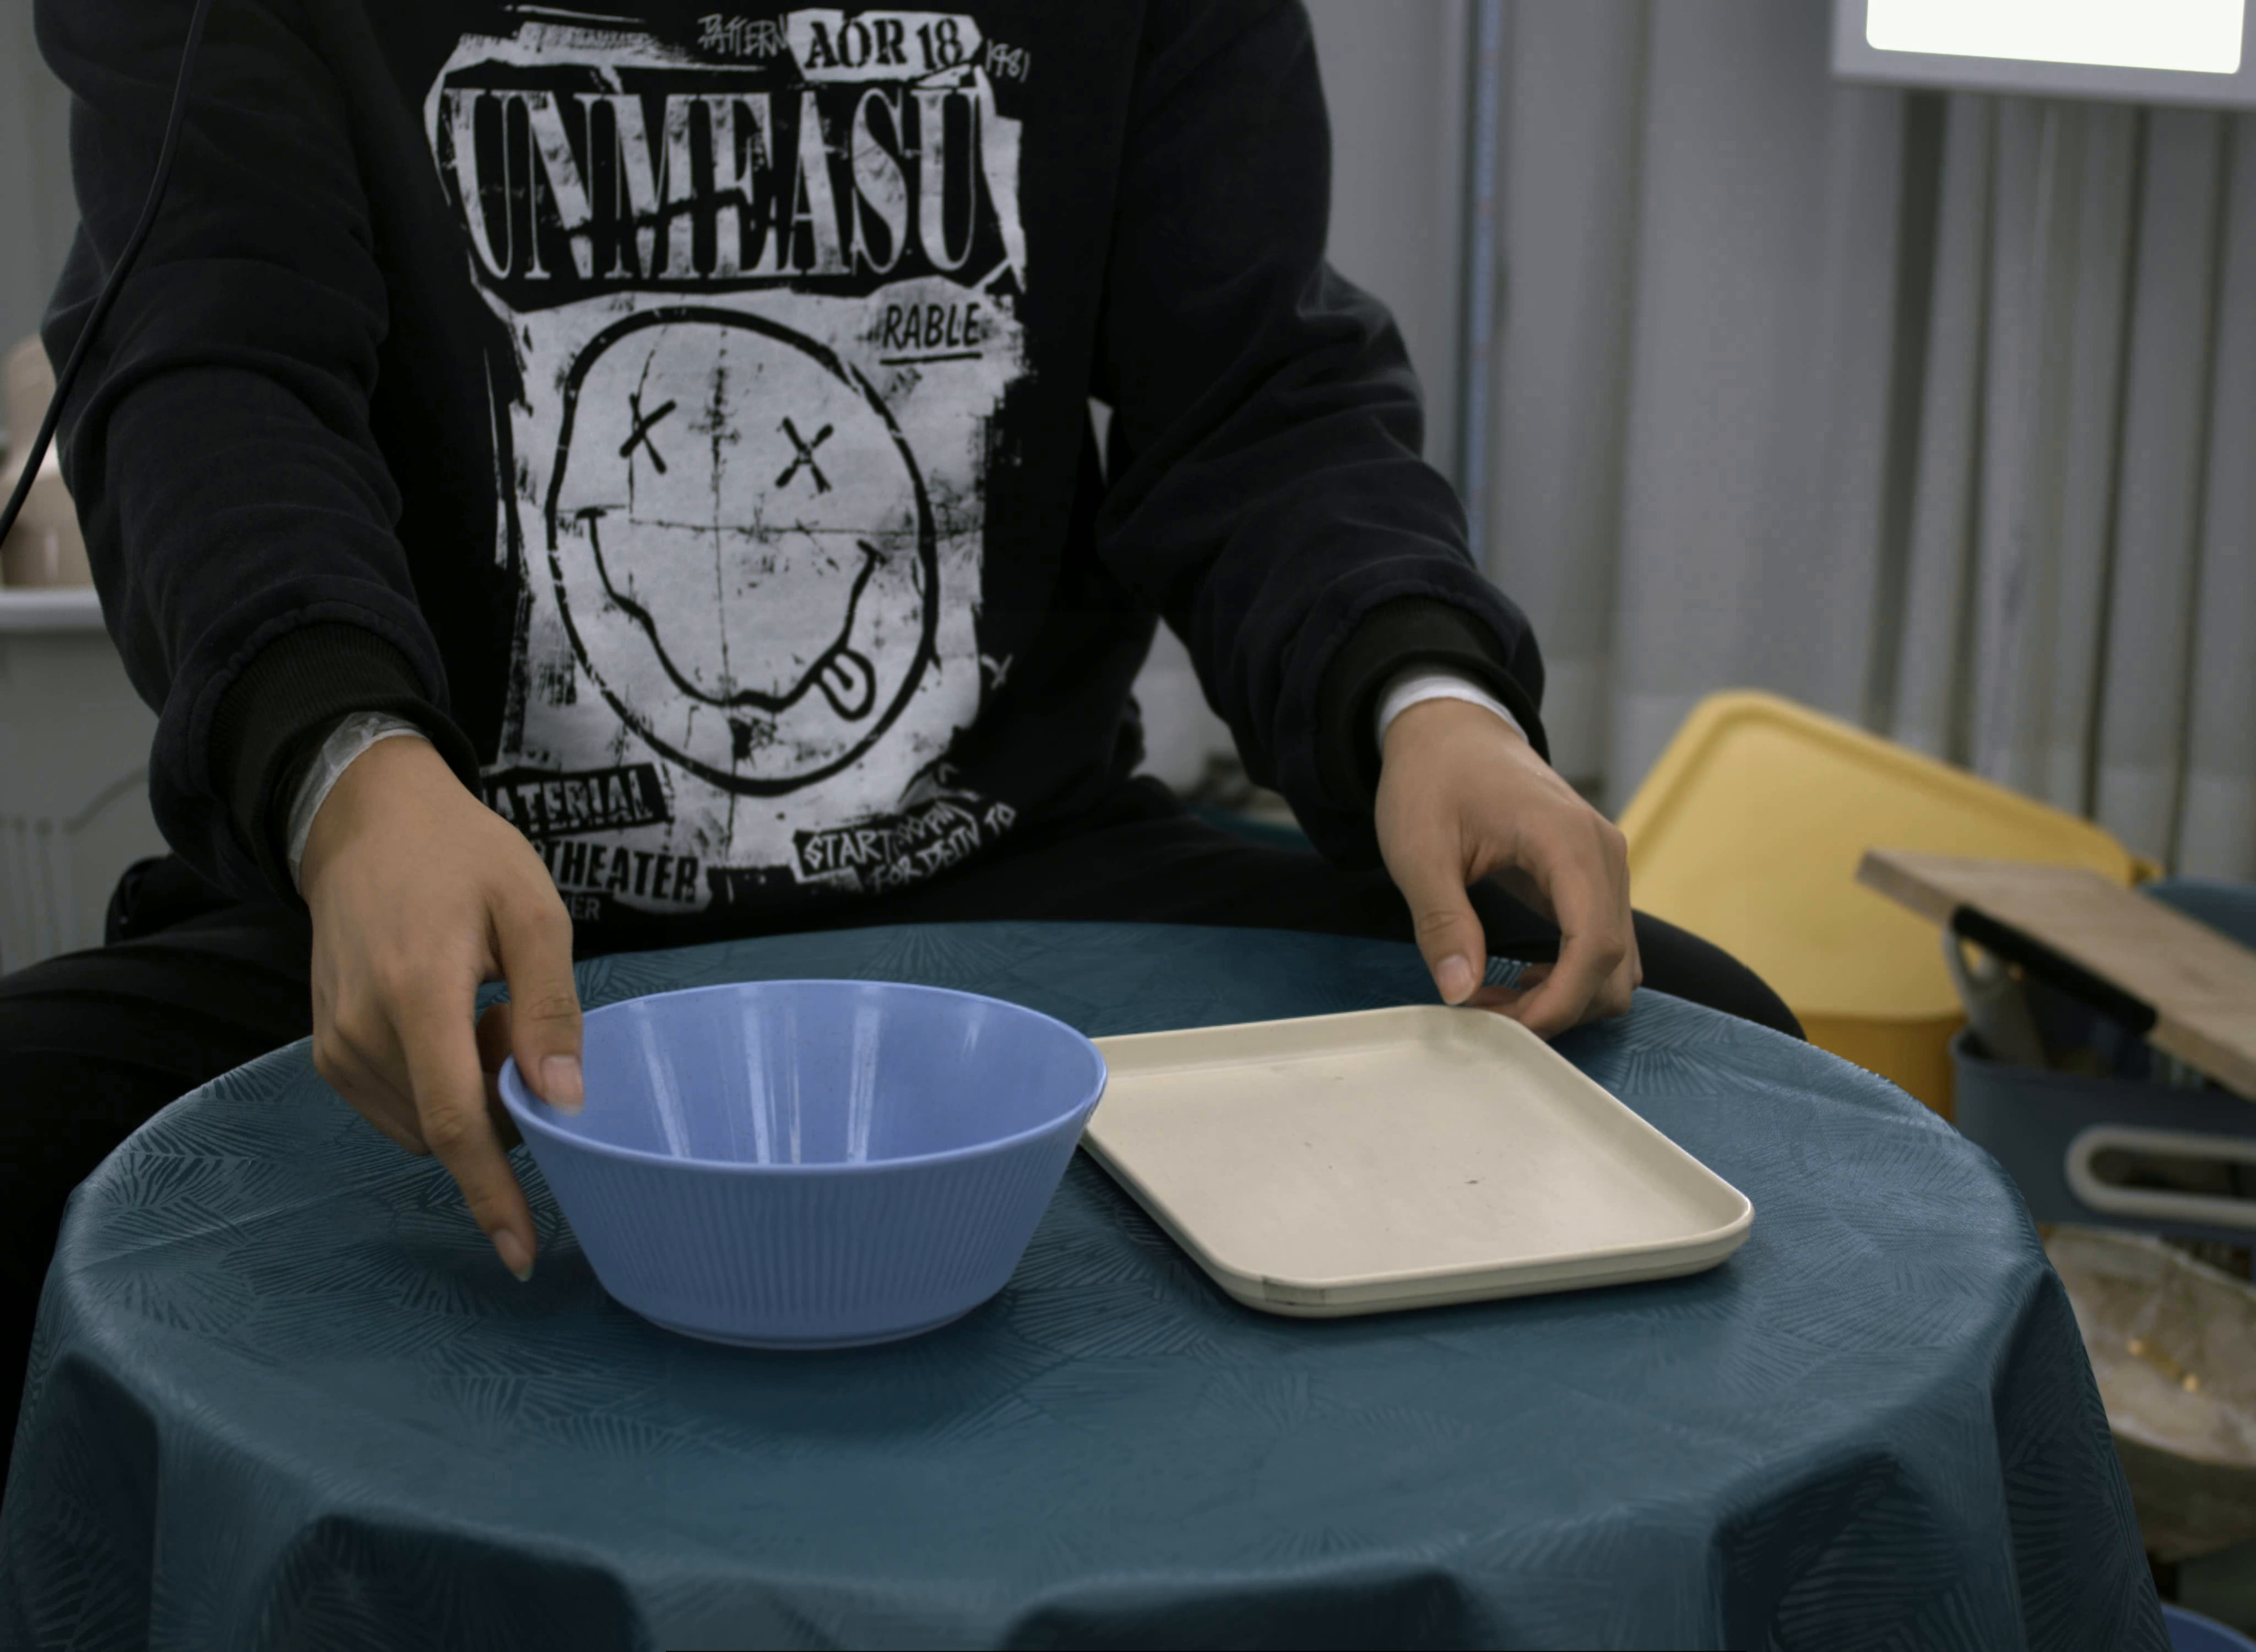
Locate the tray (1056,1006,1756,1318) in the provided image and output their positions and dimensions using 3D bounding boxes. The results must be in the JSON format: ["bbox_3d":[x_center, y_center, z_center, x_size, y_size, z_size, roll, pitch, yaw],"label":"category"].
[{"bbox_3d":[0.077,0.103,1.633,0.171,0.017,0.237,-4,16,-18],"label":"tray"}]

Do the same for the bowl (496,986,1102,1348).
[{"bbox_3d":[-0.096,0.101,1.532,0.175,0.071,0.175,2,15,0],"label":"bowl"}]
